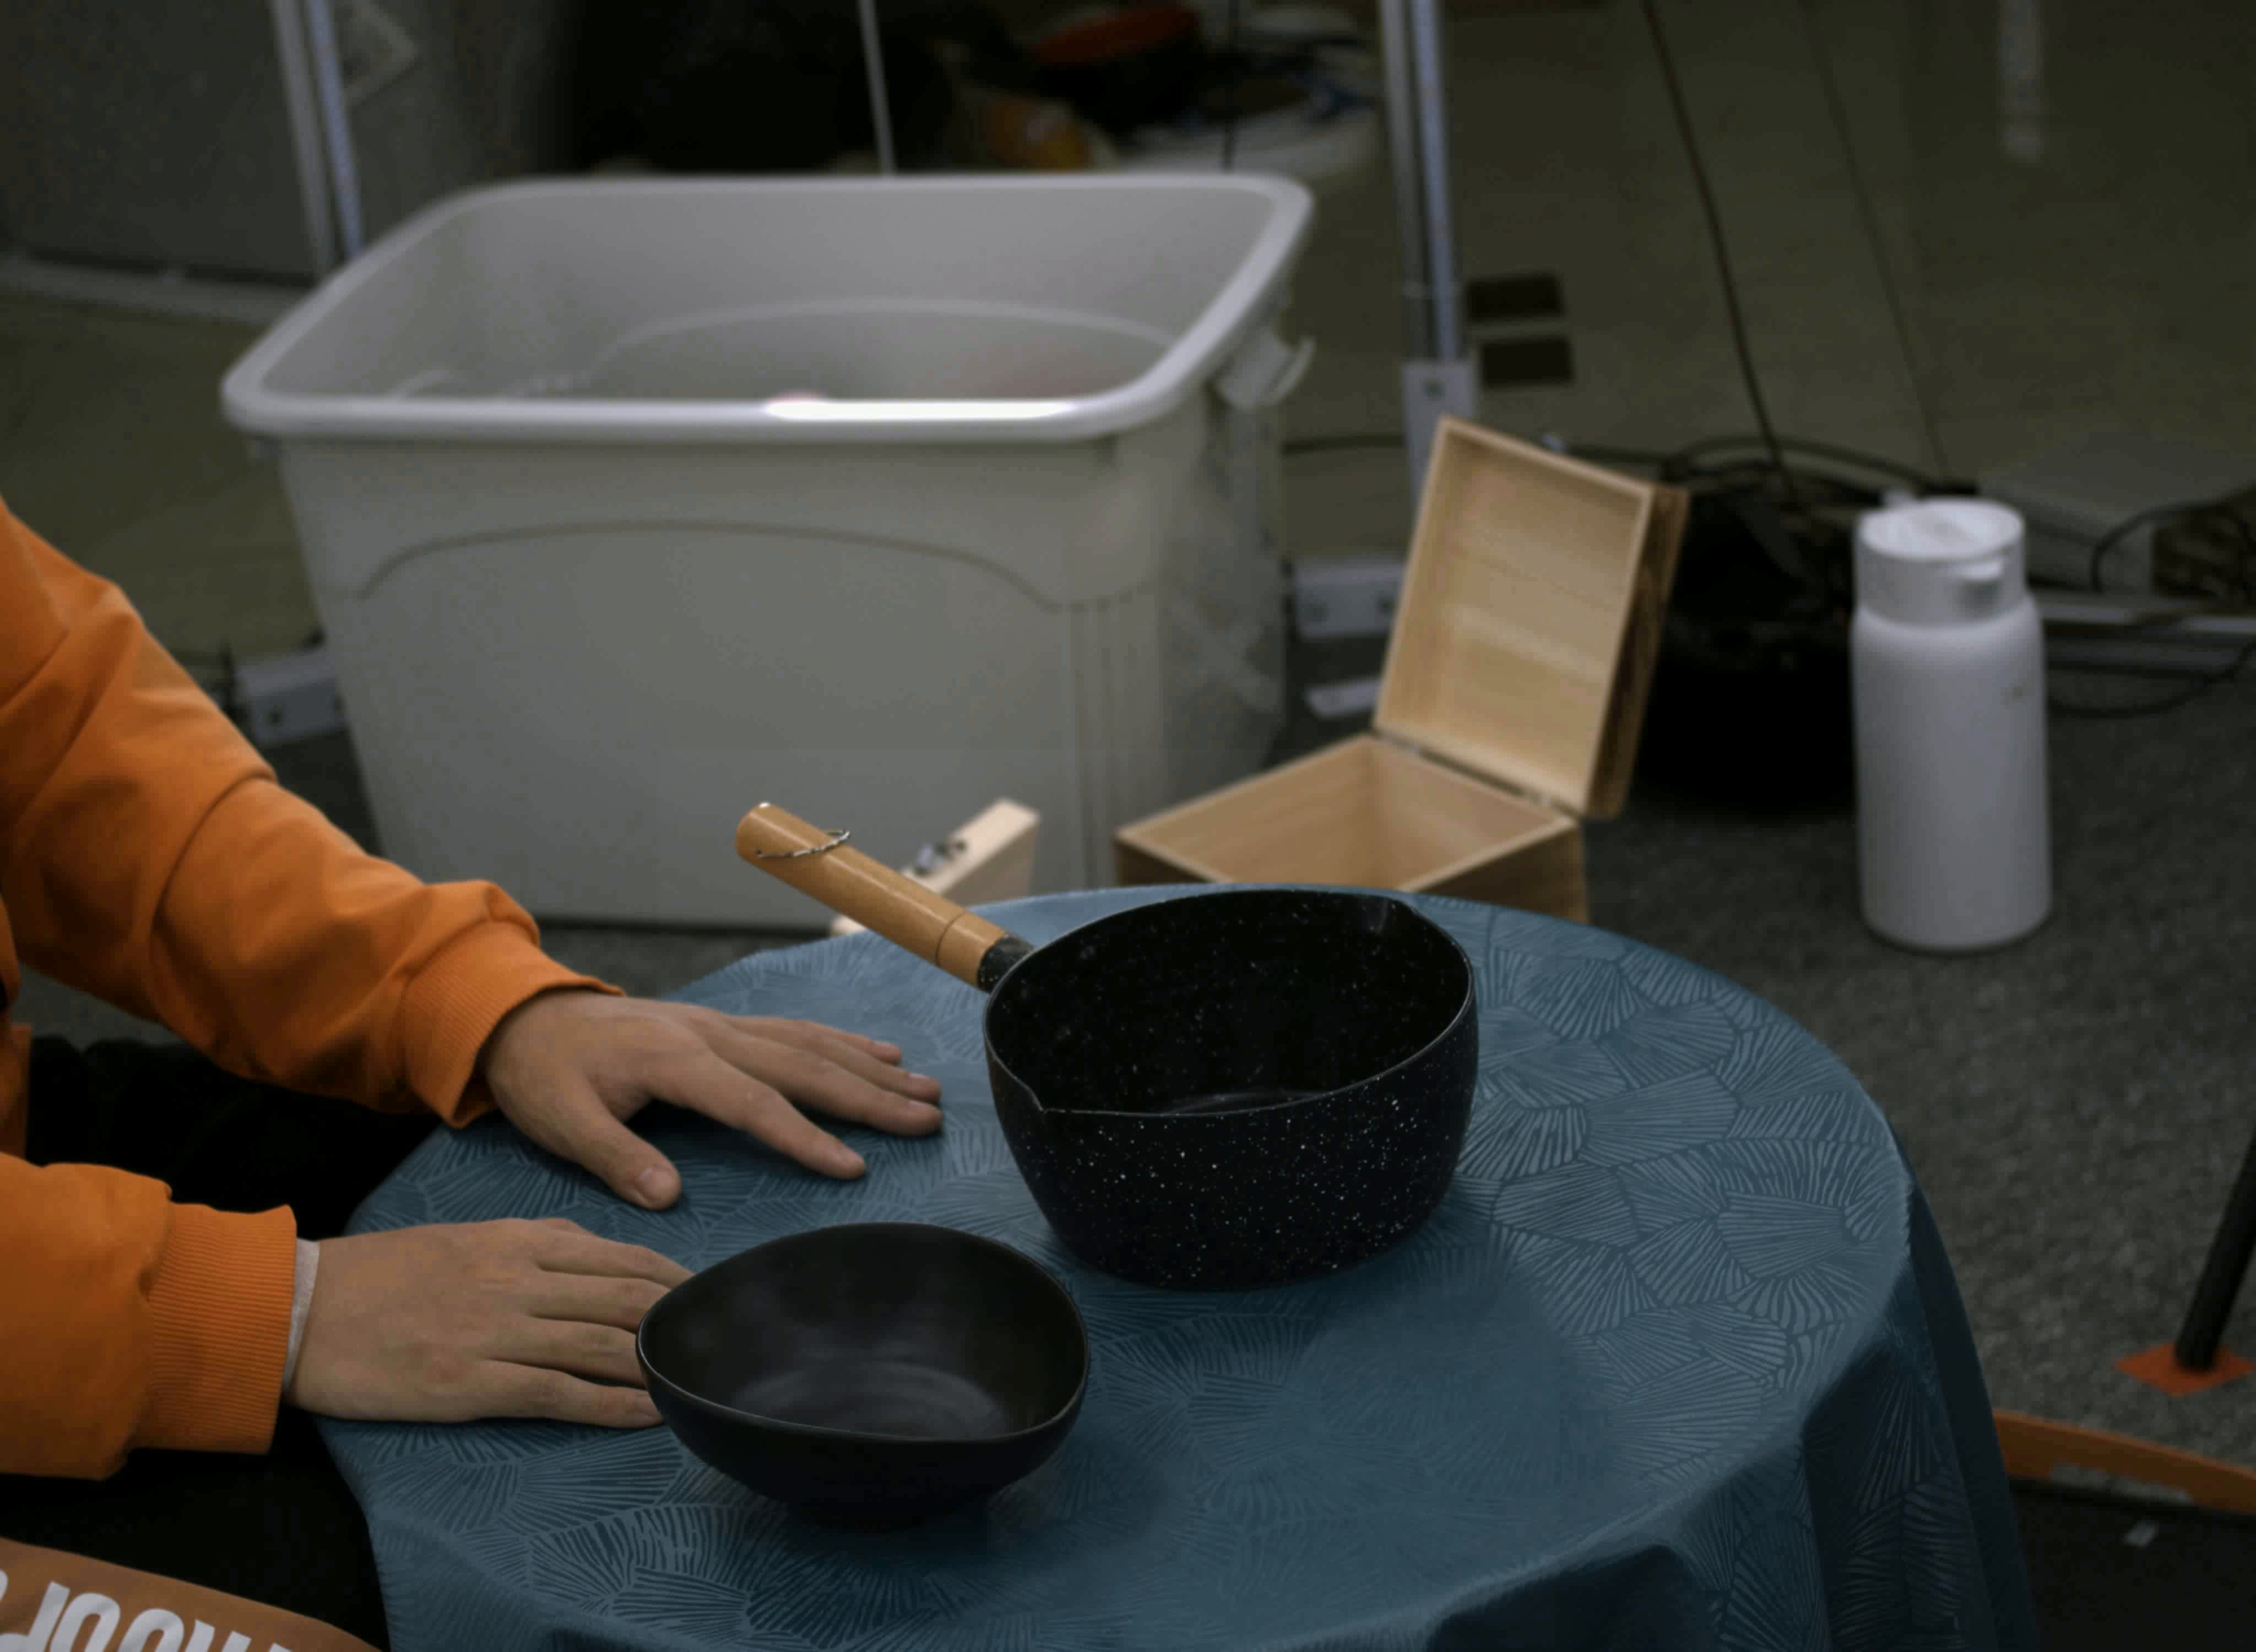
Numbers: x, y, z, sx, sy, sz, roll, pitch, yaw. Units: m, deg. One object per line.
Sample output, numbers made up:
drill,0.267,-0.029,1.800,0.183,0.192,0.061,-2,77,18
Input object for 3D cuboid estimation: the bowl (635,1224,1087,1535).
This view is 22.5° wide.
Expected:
bowl,-0.089,0.199,1.965,0.169,0.068,0.136,13,32,31

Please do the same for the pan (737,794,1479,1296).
pan,-0.020,0.075,2.161,0.340,0.110,0.205,16,35,37
